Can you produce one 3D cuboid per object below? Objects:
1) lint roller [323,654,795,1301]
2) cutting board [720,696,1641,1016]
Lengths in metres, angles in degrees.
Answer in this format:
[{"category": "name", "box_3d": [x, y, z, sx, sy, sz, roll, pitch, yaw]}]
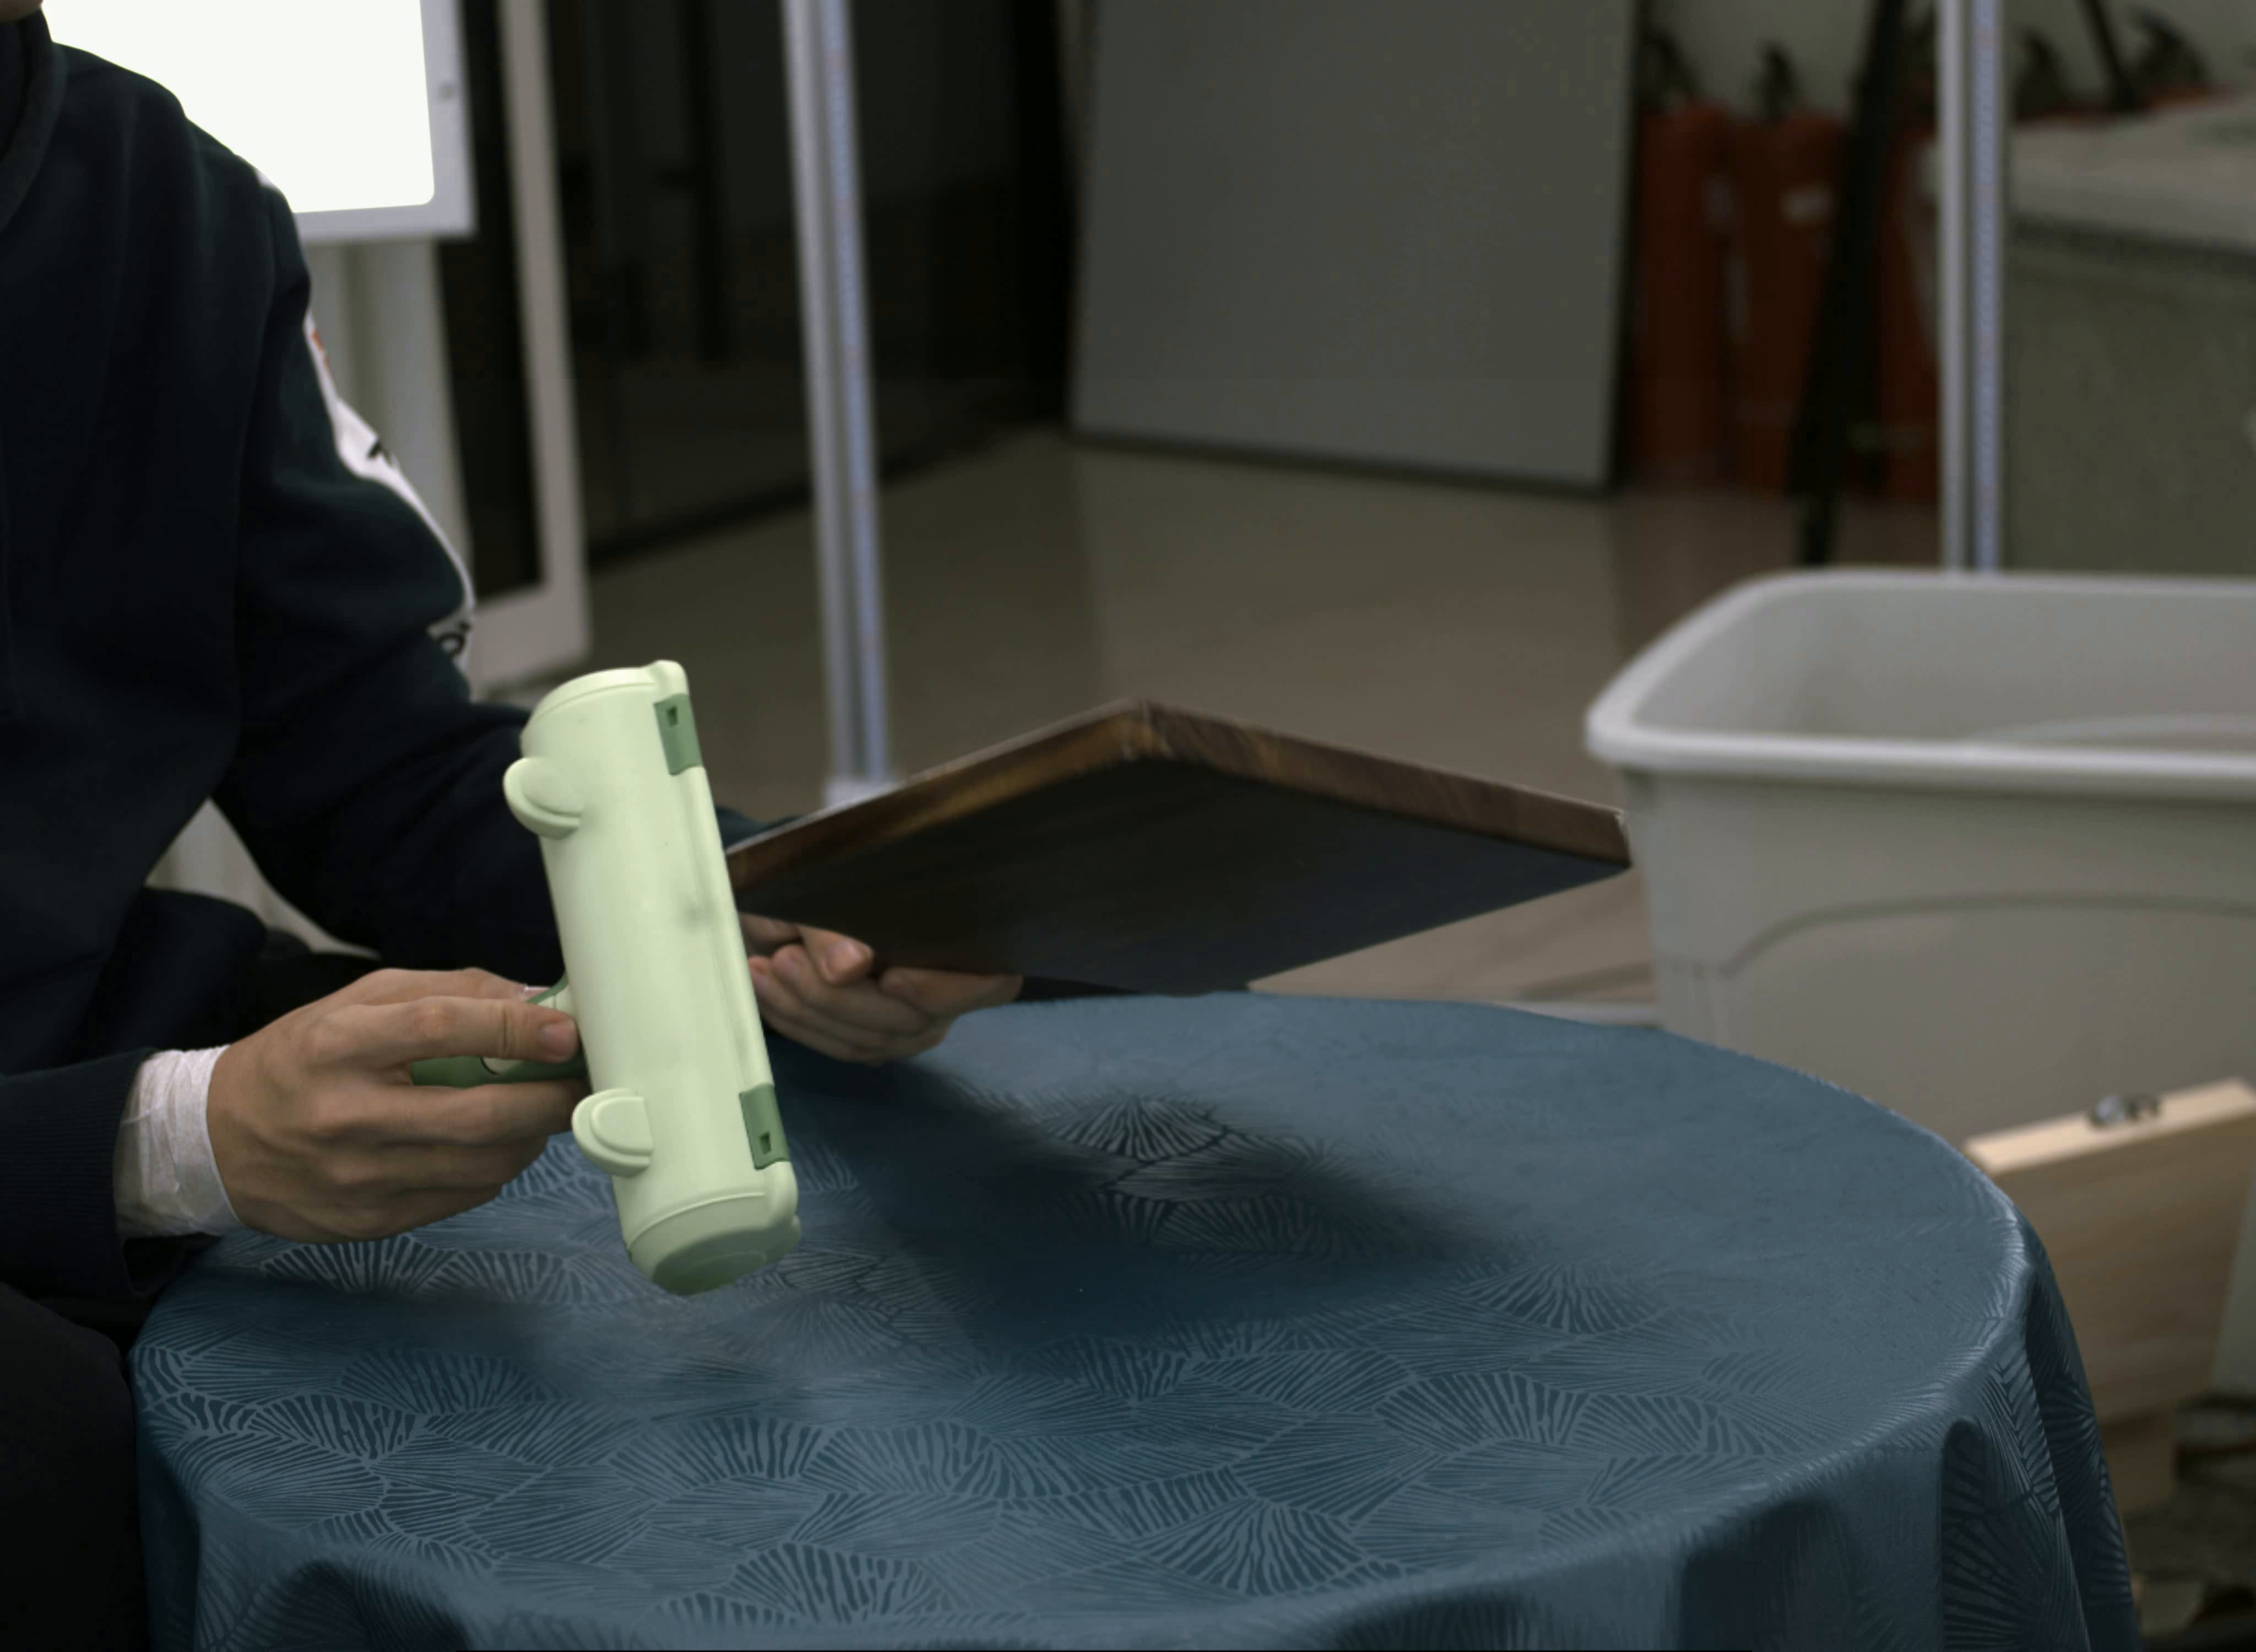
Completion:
[{"category": "lint roller", "box_3d": [-0.194, 0.066, 1.676, 0.184, 0.201, 0.081, -25, -28, 22]}, {"category": "cutting board", "box_3d": [-0.014, 0.022, 1.765, 0.196, 0.023, 0.355, 12, -19, -32]}]
